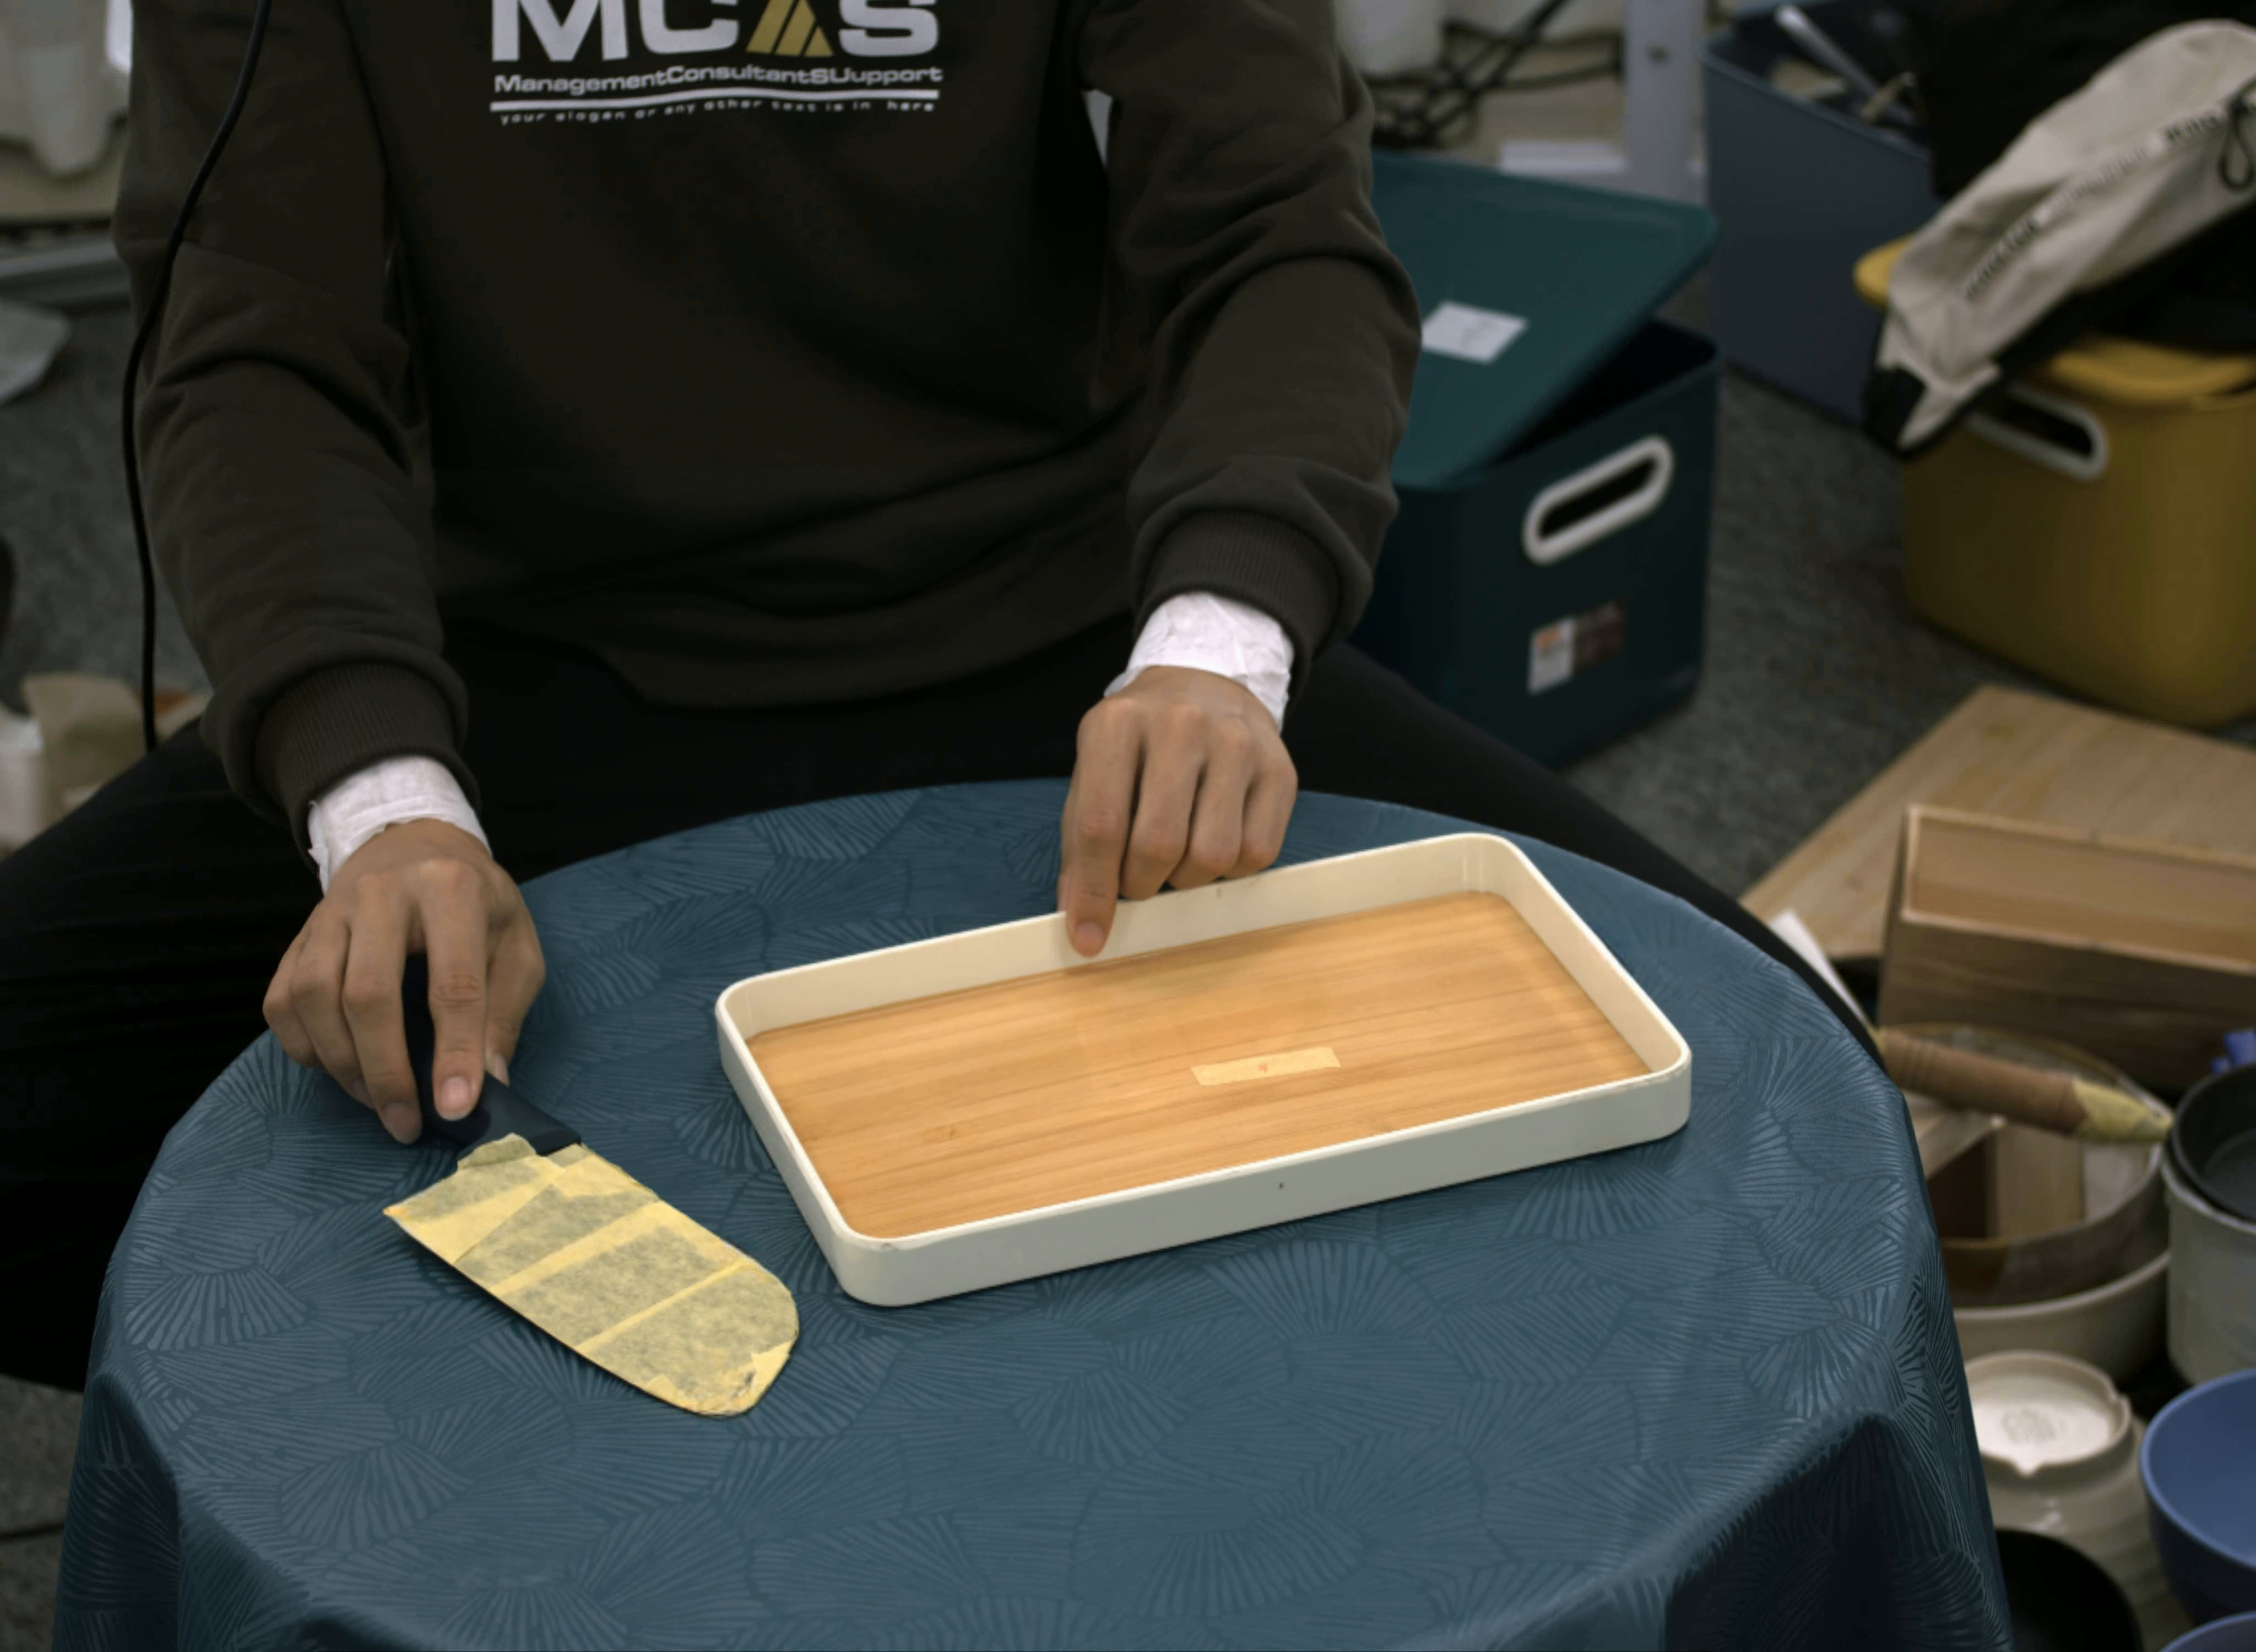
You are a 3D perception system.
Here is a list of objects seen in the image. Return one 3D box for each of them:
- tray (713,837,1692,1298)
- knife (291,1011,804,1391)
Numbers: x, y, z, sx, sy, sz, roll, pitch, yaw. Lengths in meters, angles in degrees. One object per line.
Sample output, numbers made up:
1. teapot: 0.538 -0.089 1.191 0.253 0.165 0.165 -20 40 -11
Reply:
1. tray: 0.023 0.079 1.914 0.301 0.027 0.193 -11 27 -16
2. knife: -0.203 0.125 1.858 0.082 0.027 0.290 -21 33 -34
